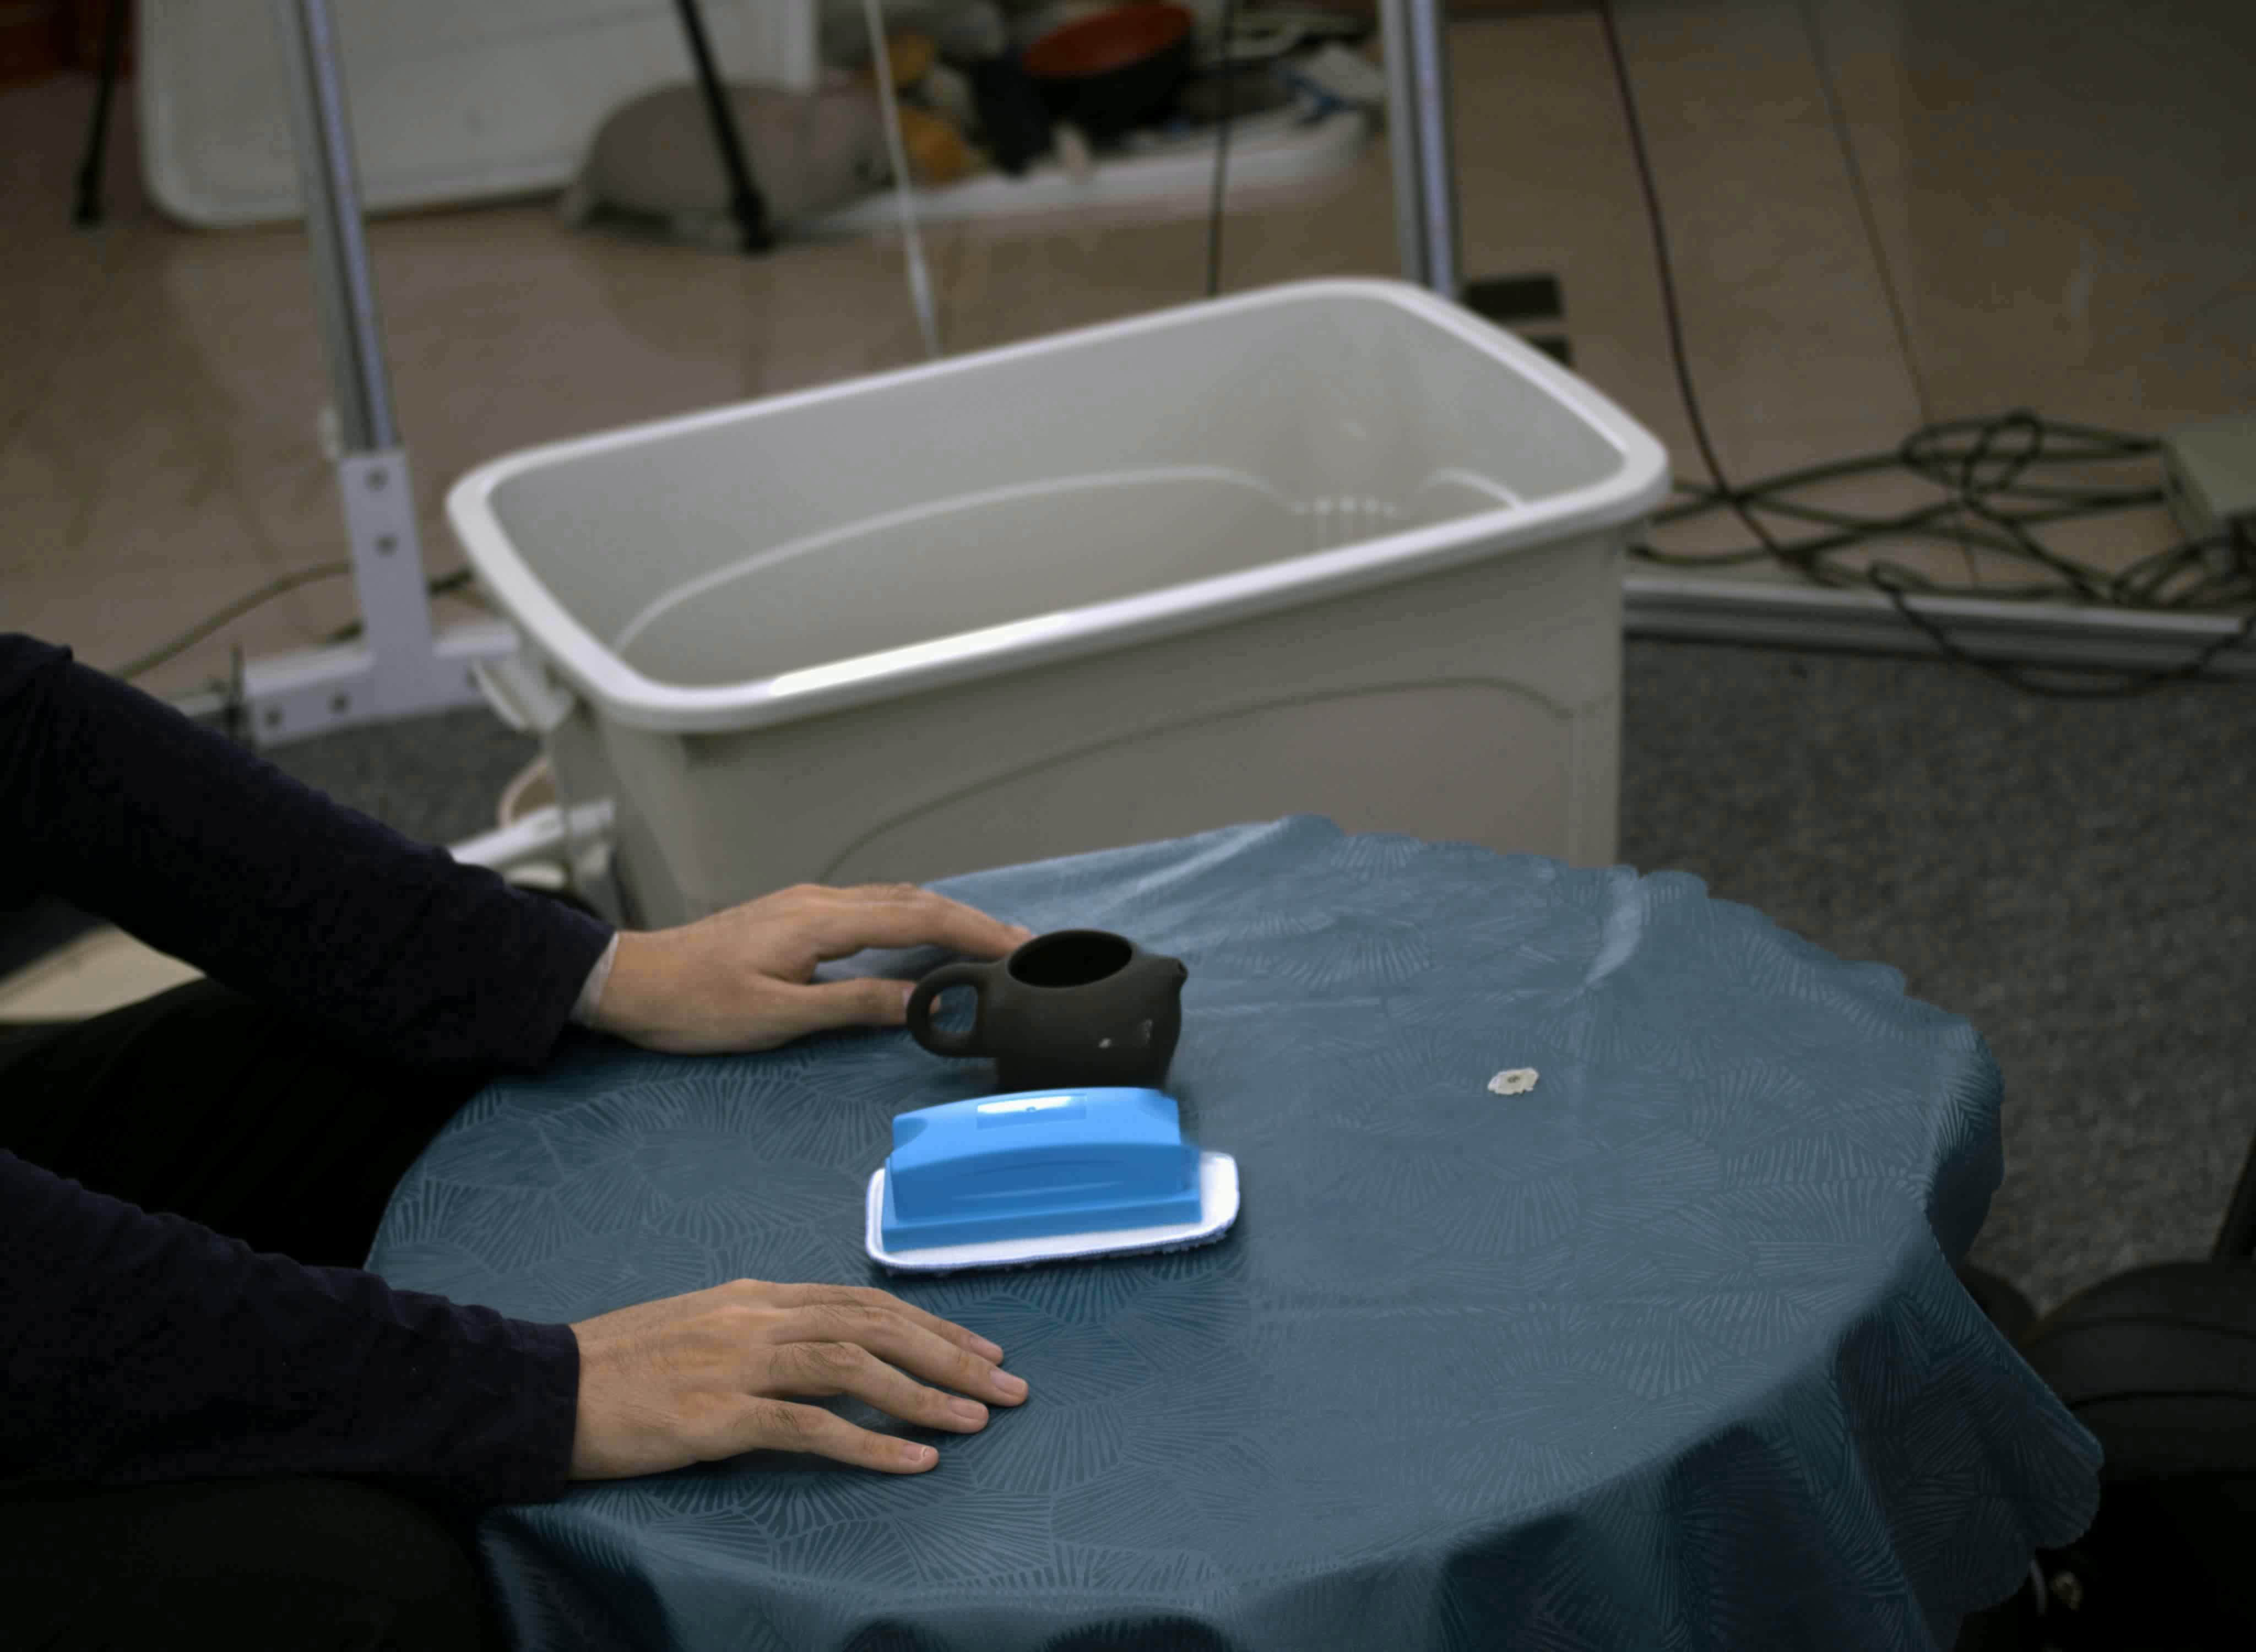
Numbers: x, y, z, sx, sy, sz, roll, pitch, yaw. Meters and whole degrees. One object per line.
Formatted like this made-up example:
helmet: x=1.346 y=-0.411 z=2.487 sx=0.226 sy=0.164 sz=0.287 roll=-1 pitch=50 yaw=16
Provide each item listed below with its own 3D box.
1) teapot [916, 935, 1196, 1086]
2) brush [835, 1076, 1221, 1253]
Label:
teapot: x=-0.029 y=0.075 z=2.234 sx=0.114 sy=0.054 sz=0.082 roll=2 pitch=23 yaw=13
brush: x=-0.038 y=0.123 z=2.119 sx=0.144 sy=0.057 sz=0.083 roll=-3 pitch=22 yaw=3
